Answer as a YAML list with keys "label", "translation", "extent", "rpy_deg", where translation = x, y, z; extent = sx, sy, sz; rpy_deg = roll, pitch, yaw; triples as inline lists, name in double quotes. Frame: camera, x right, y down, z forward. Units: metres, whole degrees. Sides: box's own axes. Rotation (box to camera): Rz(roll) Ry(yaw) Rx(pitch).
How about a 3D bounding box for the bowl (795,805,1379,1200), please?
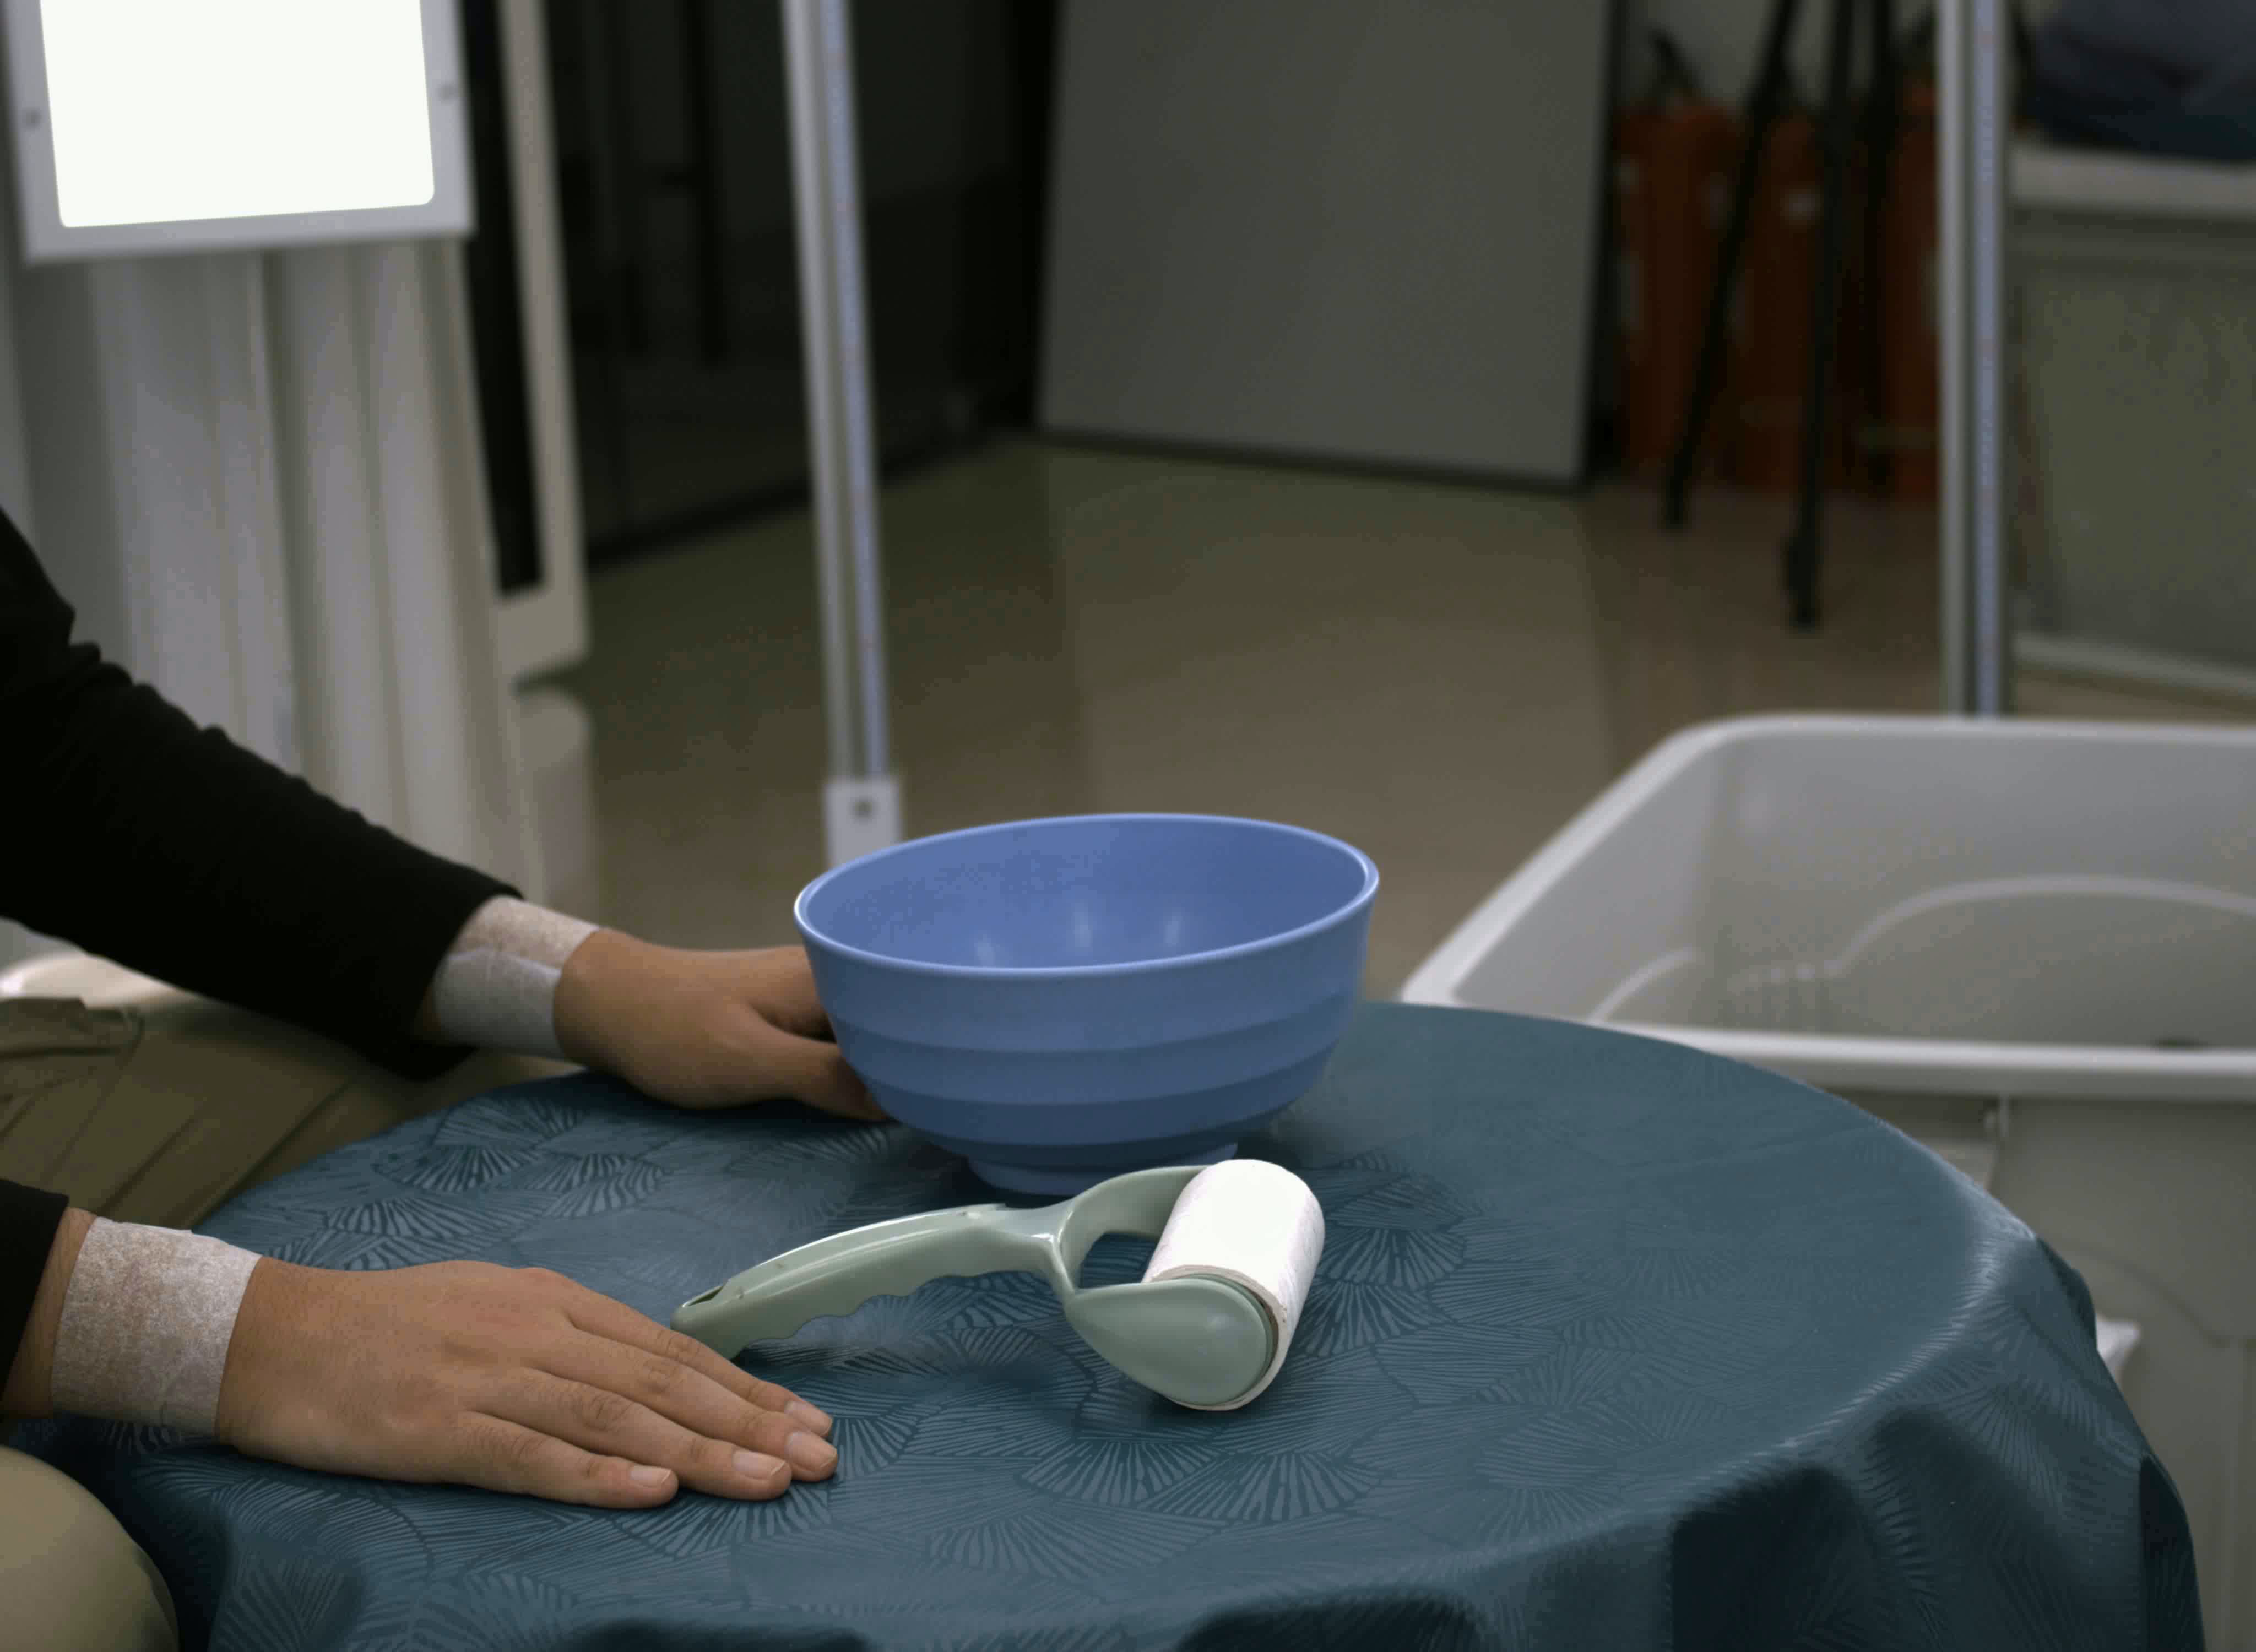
- label: "bowl"
  translation: [-0.011, 0.065, 1.799]
  extent: [0.194, 0.096, 0.197]
  rpy_deg: [-4, 15, 0]

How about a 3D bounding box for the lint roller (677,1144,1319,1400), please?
- label: "lint roller"
  translation: [-0.041, 0.137, 1.626]
  extent: [0.196, 0.049, 0.116]
  rpy_deg: [-3, 15, 10]
